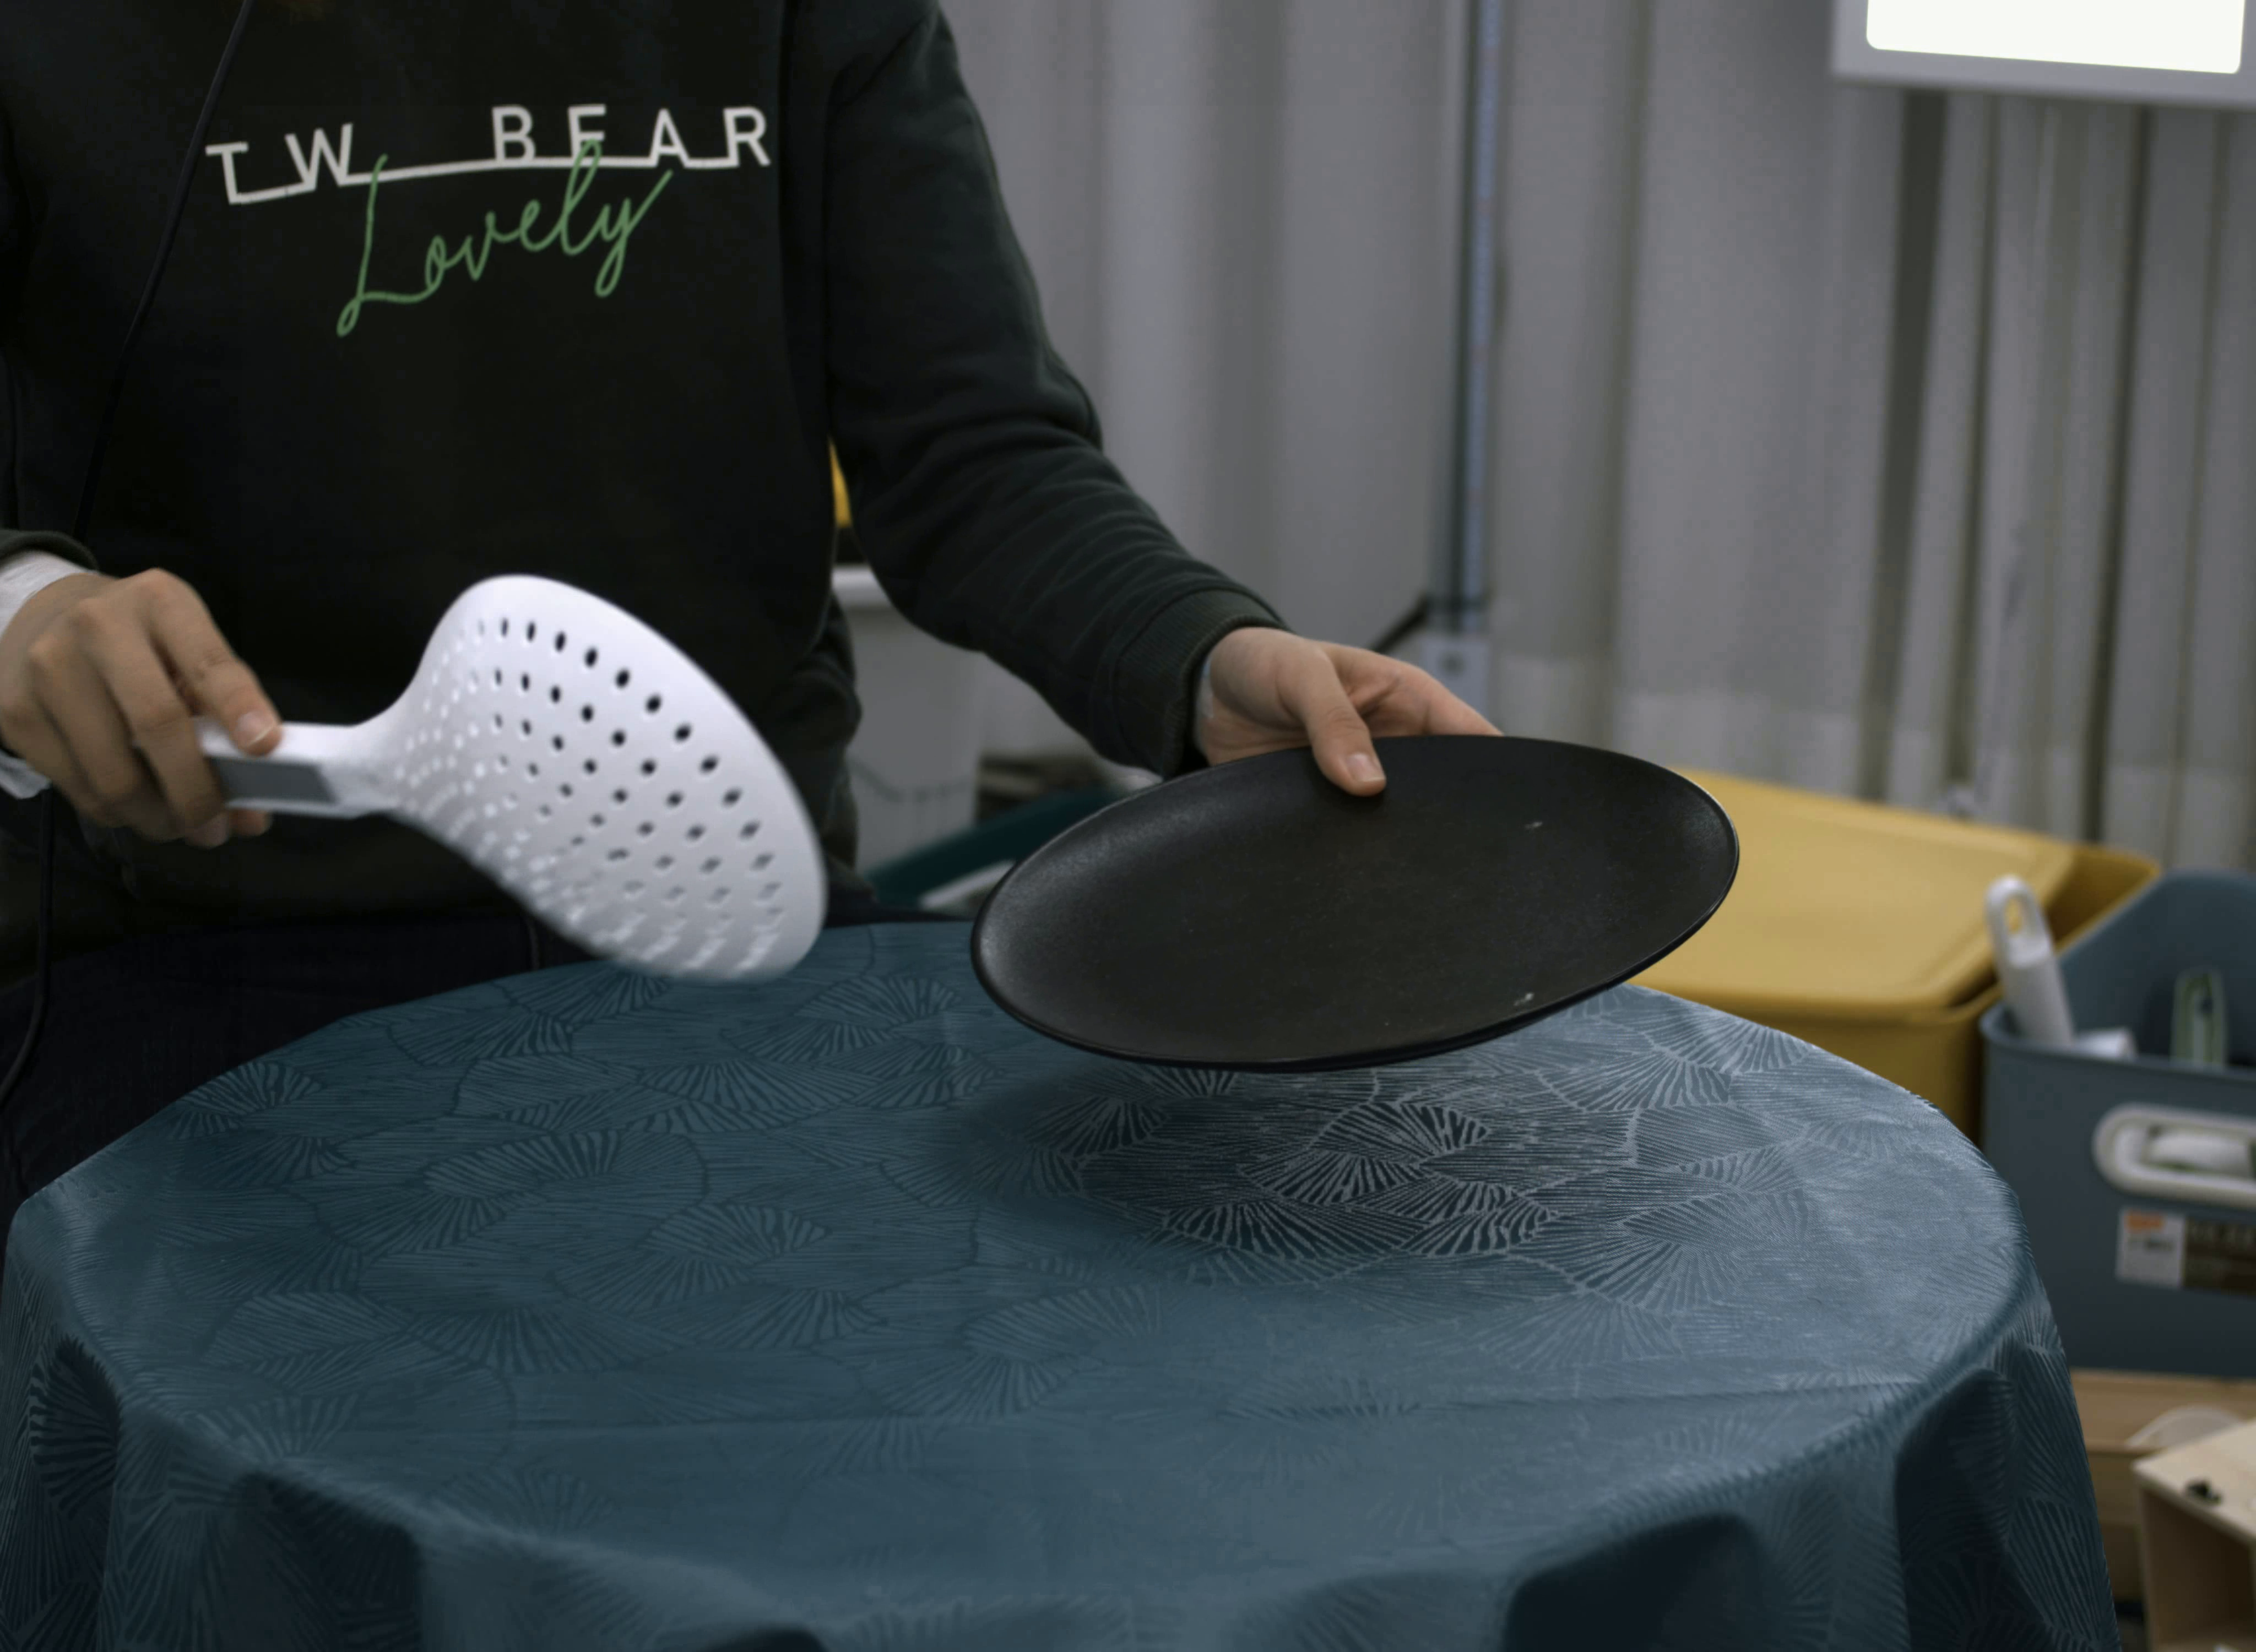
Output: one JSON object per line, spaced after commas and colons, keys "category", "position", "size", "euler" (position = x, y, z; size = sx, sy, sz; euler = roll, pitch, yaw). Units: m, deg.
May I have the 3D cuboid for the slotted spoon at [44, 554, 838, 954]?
{"category": "slotted spoon", "position": [-0.211, -0.019, 1.514], "size": [0.345, 0.138, 0.046], "euler": [8, 45, 50]}

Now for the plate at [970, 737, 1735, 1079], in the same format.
{"category": "plate", "position": [0.071, 0.029, 1.660], "size": [0.243, 0.024, 0.242], "euler": [-7, 23, 4]}
